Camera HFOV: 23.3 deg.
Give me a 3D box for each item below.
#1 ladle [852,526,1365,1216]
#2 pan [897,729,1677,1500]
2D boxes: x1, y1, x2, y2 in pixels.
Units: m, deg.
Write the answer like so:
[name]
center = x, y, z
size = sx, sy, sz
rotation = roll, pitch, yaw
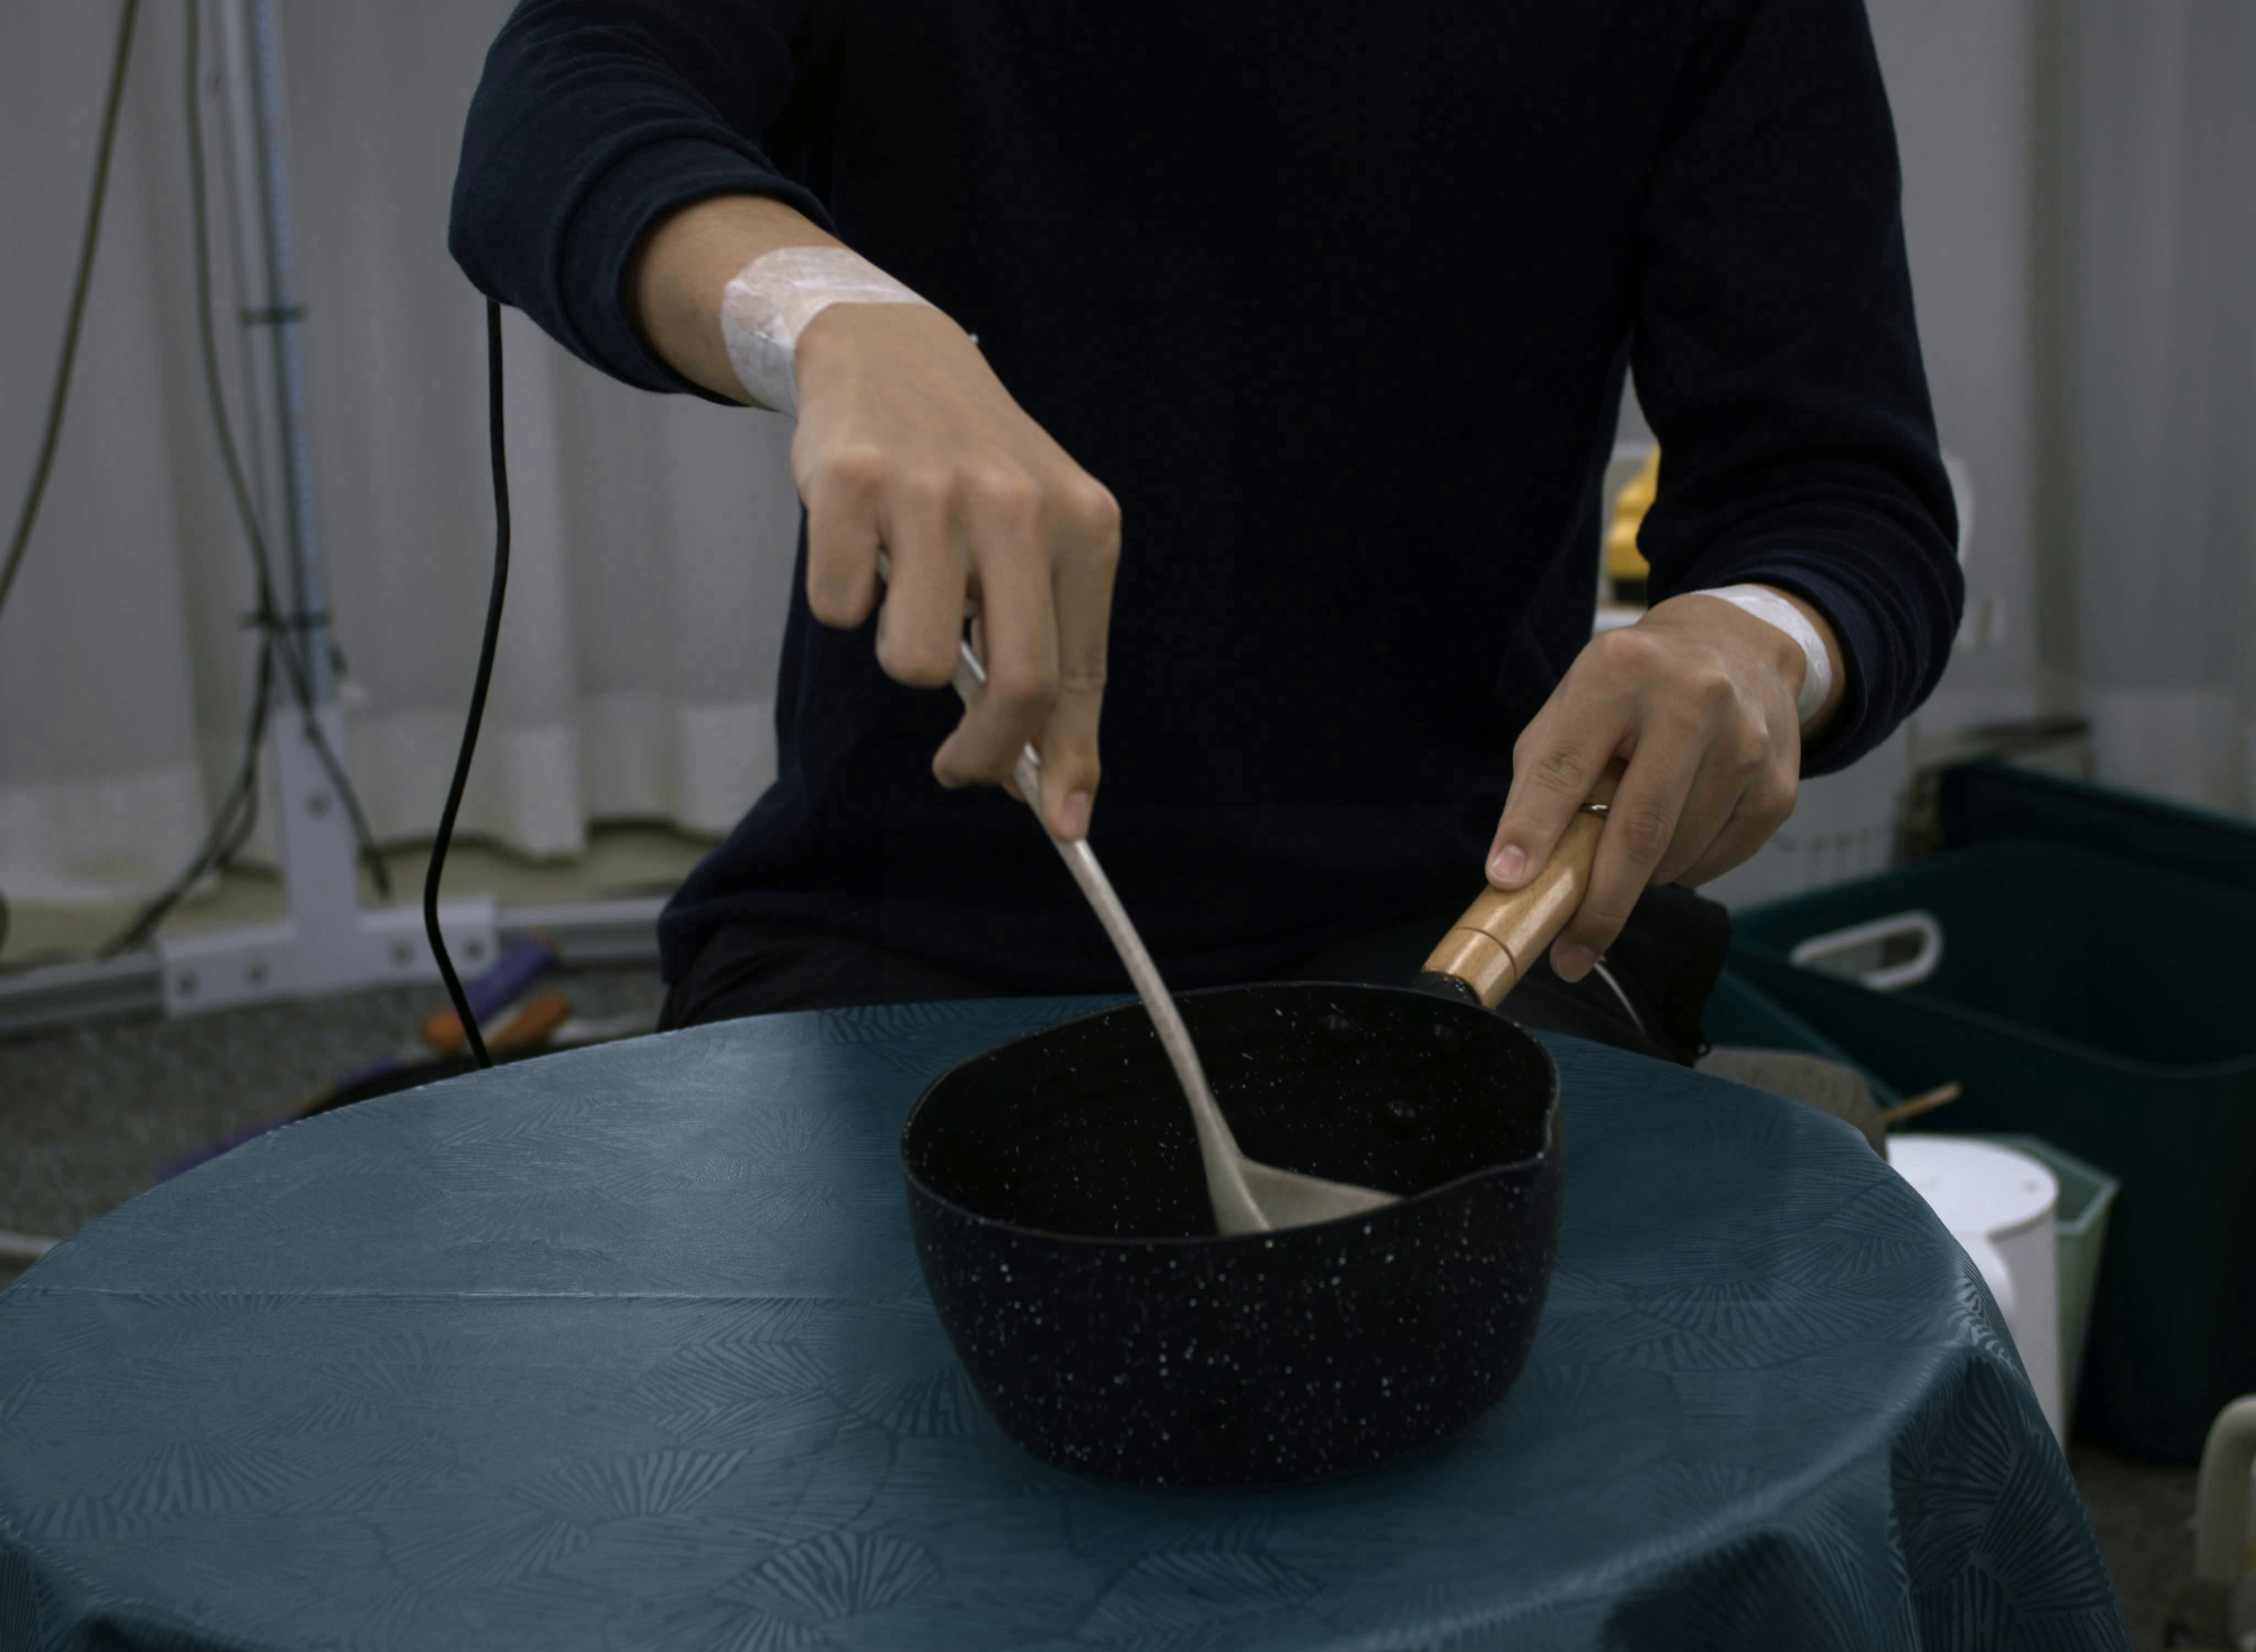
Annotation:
[ladle]
center = 0.017, 0.024, 1.496
size = 0.069, 0.273, 0.090
rotation = -25, 15, 11
[pan]
center = 0.073, 0.079, 1.580
size = 0.208, 0.107, 0.344
rotation = 4, 23, 32
